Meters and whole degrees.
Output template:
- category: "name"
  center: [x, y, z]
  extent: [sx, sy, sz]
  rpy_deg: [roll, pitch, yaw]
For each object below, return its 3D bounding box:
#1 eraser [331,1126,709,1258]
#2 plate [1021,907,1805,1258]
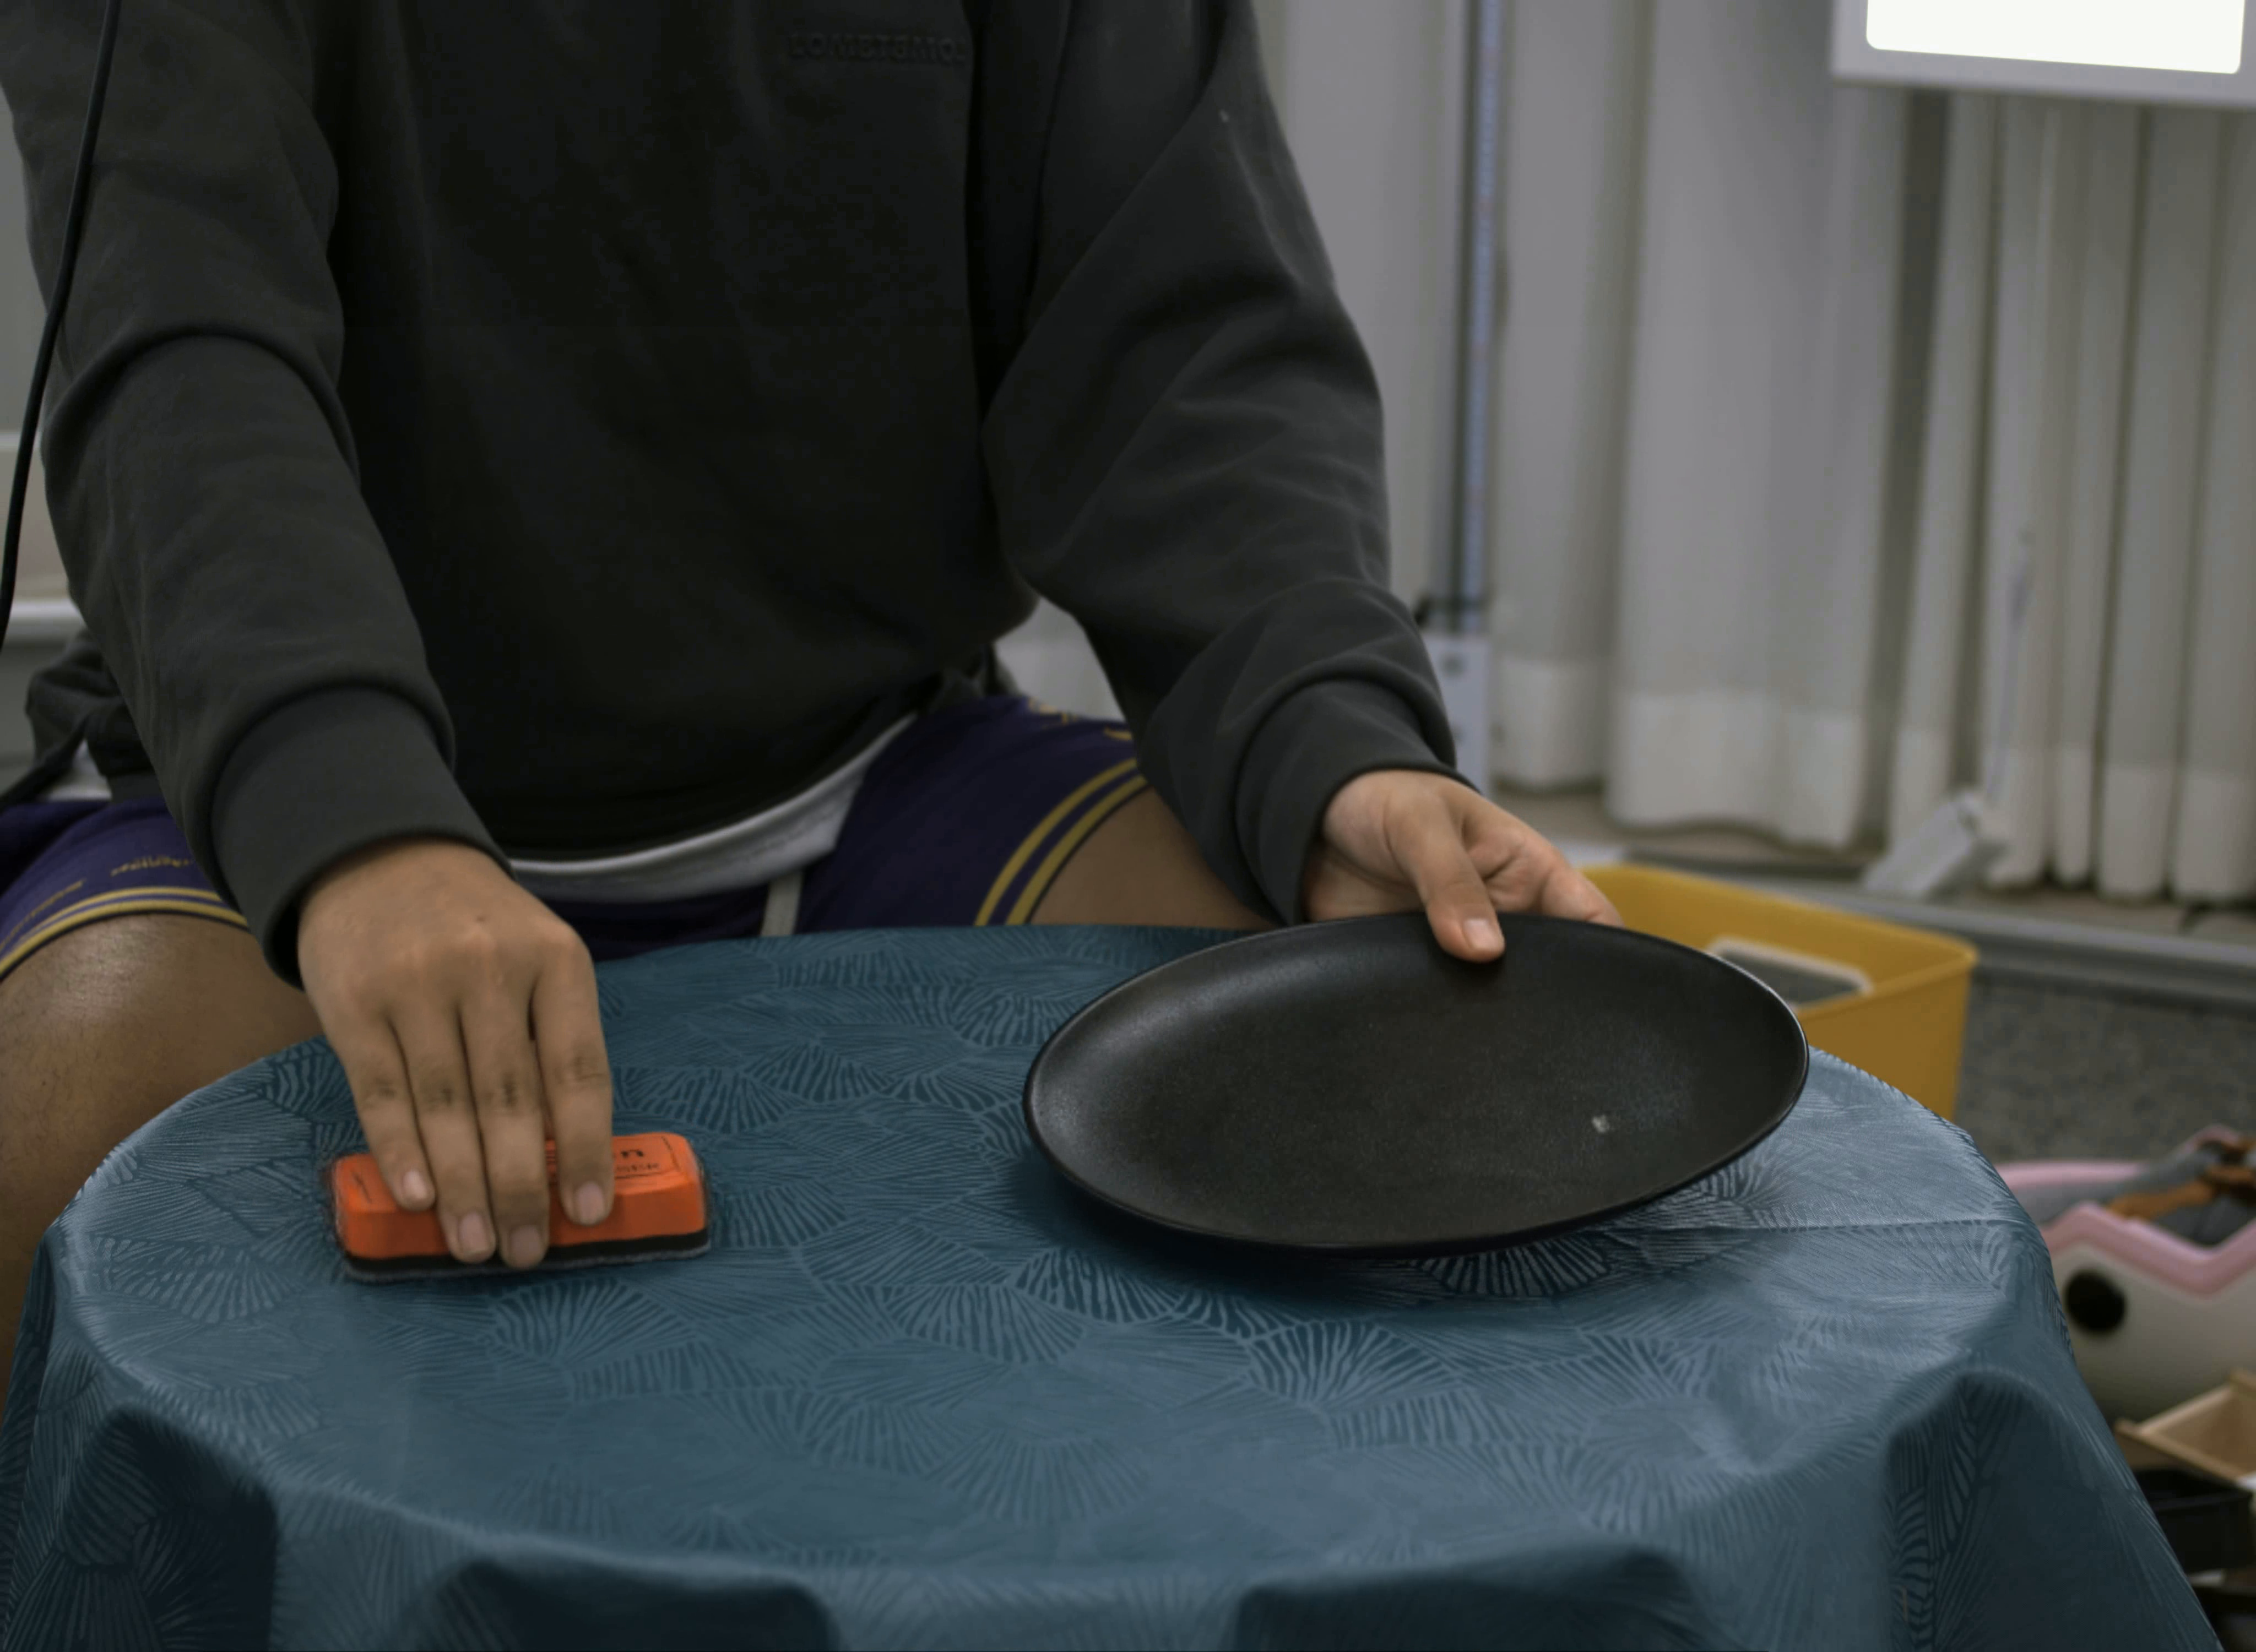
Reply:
- category: "eraser"
  center: [-0.181, 0.109, 1.568]
  extent: [0.108, 0.023, 0.058]
  rpy_deg: [-1, 14, -16]
- category: "plate"
  center: [0.088, 0.083, 1.632]
  extent: [0.243, 0.023, 0.242]
  rpy_deg: [-4, 23, 2]
